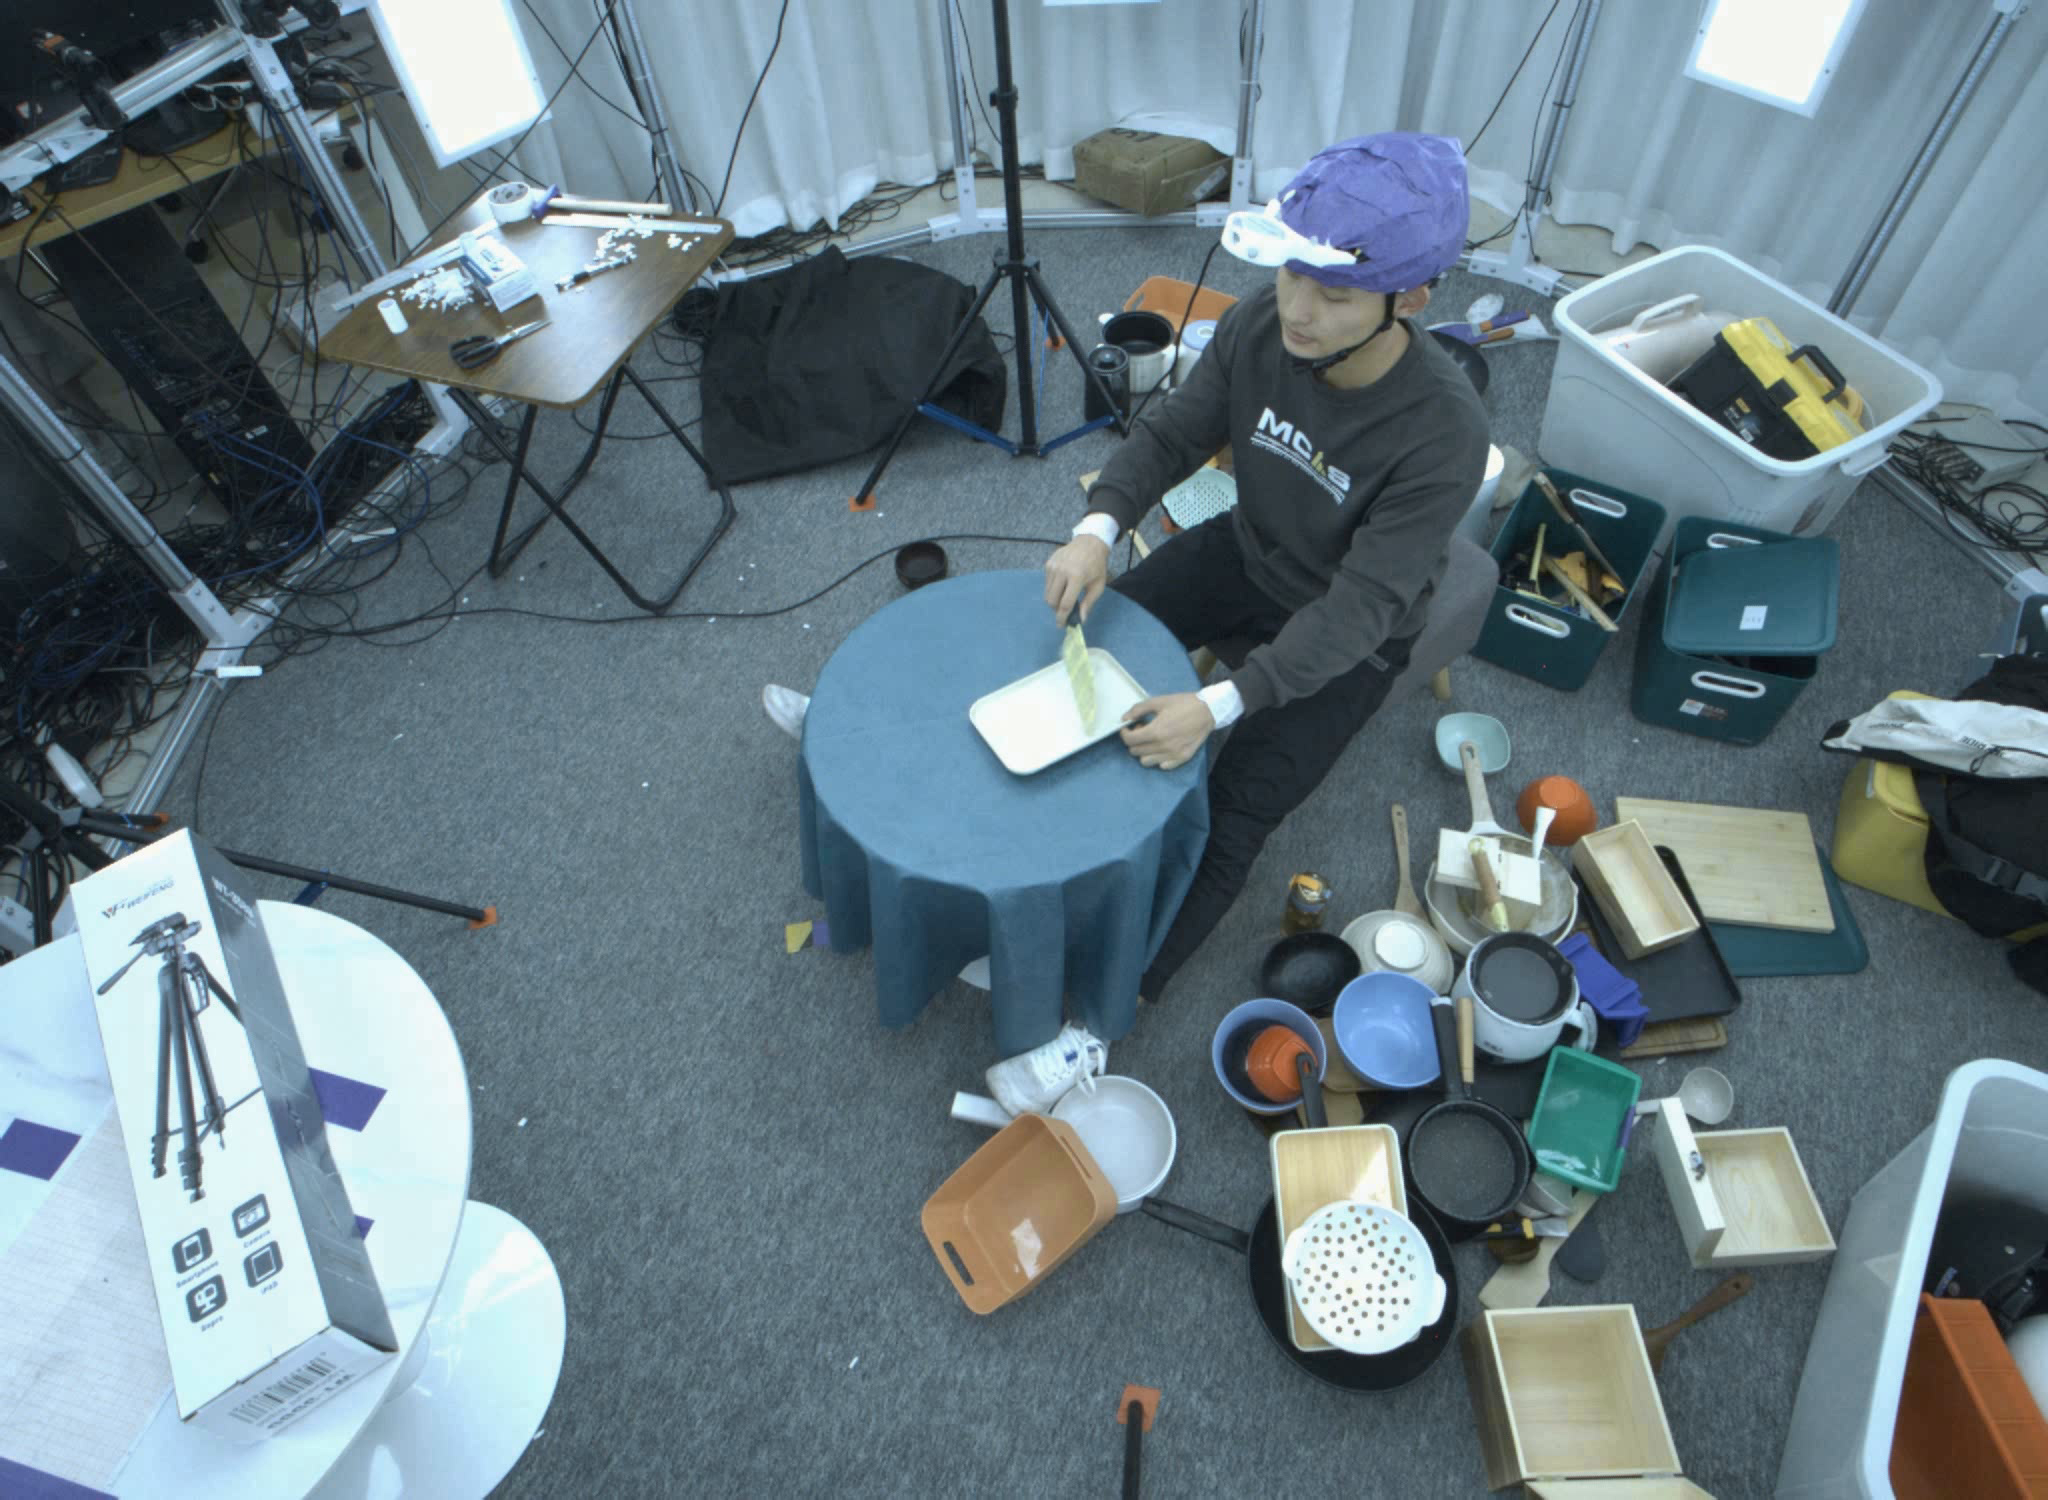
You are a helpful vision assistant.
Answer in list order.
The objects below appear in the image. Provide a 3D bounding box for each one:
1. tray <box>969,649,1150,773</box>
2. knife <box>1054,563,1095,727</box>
[{"bbox_3d":[0.053,-0.058,1.813,0.241,0.018,0.167,-26,50,-16],"label":"tray"},{"bbox_3d":[0.072,-0.156,1.816,0.027,0.081,0.286,4,58,-21],"label":"knife"}]
